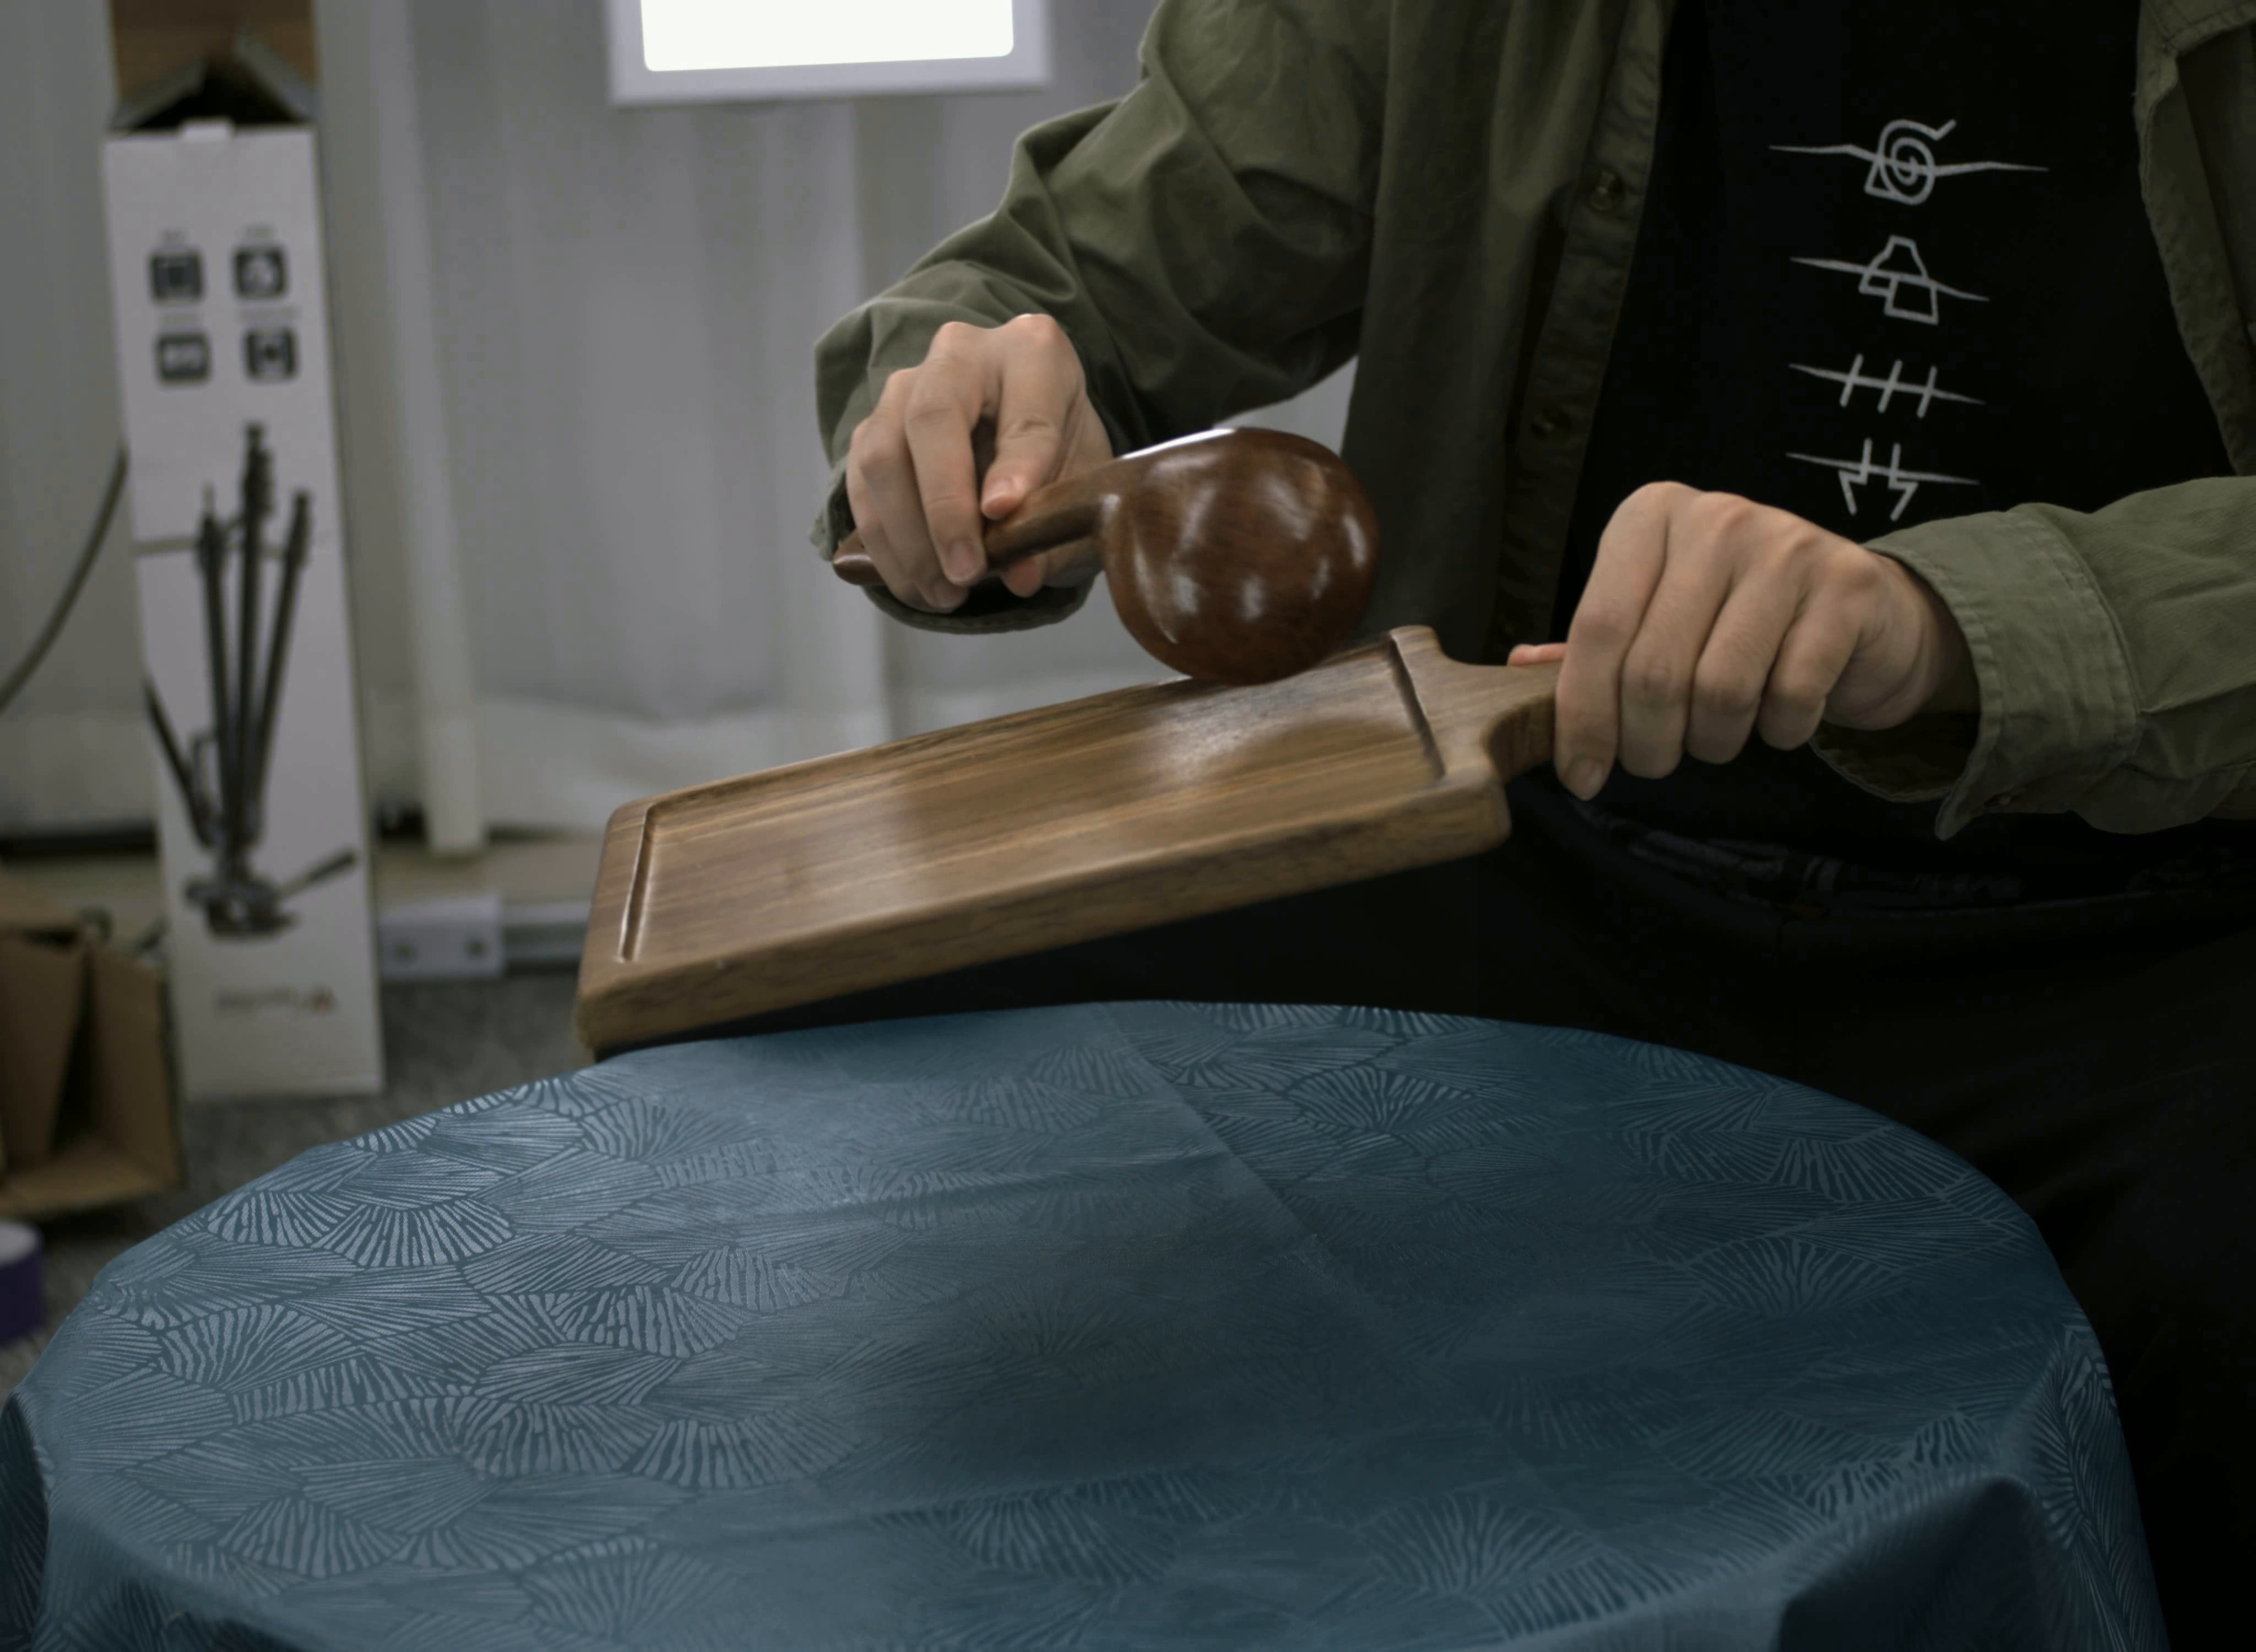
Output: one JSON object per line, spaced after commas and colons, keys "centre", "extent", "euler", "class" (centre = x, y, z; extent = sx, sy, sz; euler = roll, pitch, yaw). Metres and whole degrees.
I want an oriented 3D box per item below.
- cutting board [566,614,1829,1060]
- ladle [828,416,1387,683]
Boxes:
{"centre": [0.021, -0.009, 1.512], "extent": [0.351, 0.023, 0.202], "euler": [-13, 15, 2], "class": "cutting board"}
{"centre": [-0.010, -0.080, 1.675], "extent": [0.082, 0.076, 0.274], "euler": [-49, 17, -18], "class": "ladle"}
